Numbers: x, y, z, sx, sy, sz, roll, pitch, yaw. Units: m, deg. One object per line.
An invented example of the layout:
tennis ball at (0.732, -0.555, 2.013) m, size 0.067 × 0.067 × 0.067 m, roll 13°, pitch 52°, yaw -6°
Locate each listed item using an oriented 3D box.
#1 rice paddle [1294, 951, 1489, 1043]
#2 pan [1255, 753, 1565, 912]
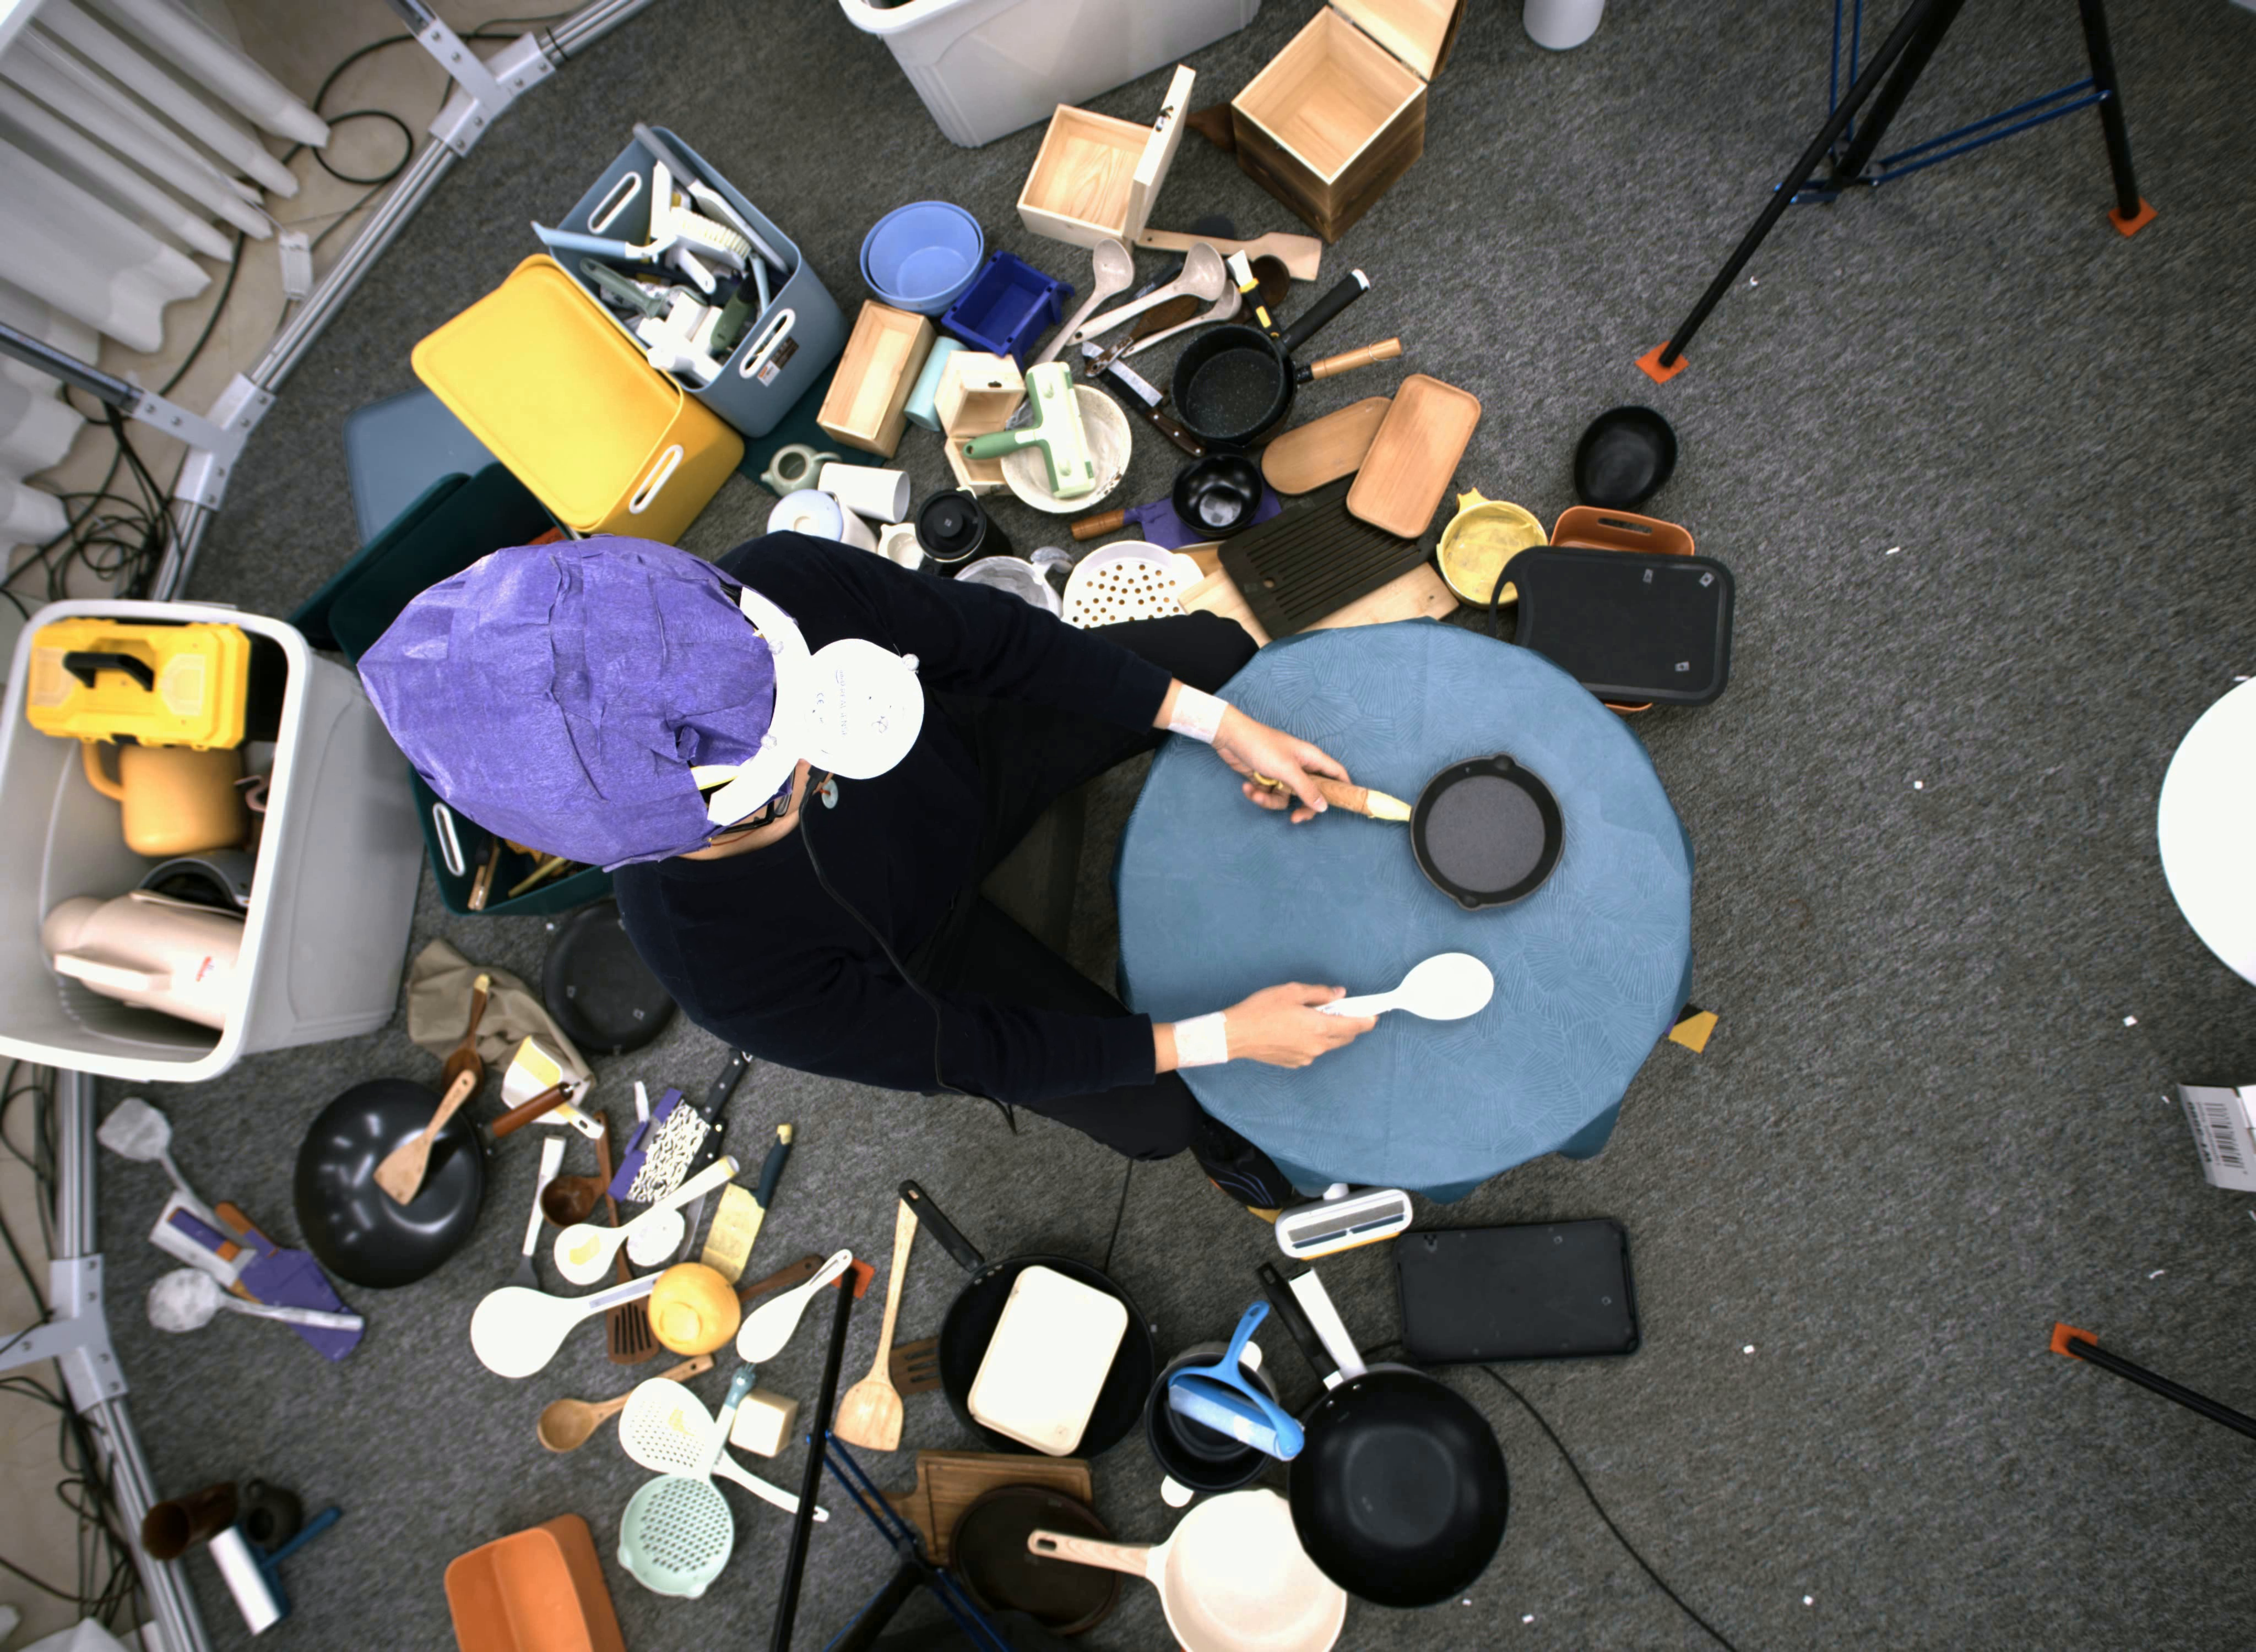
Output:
rice paddle at (0.272, 0.176, 1.416) m, size 0.205 × 0.030 × 0.067 m, roll -16°, pitch 67°, yaw 1°
pan at (0.290, -0.019, 1.436) m, size 0.324 × 0.049 × 0.169 m, roll 17°, pitch 90°, yaw 10°
